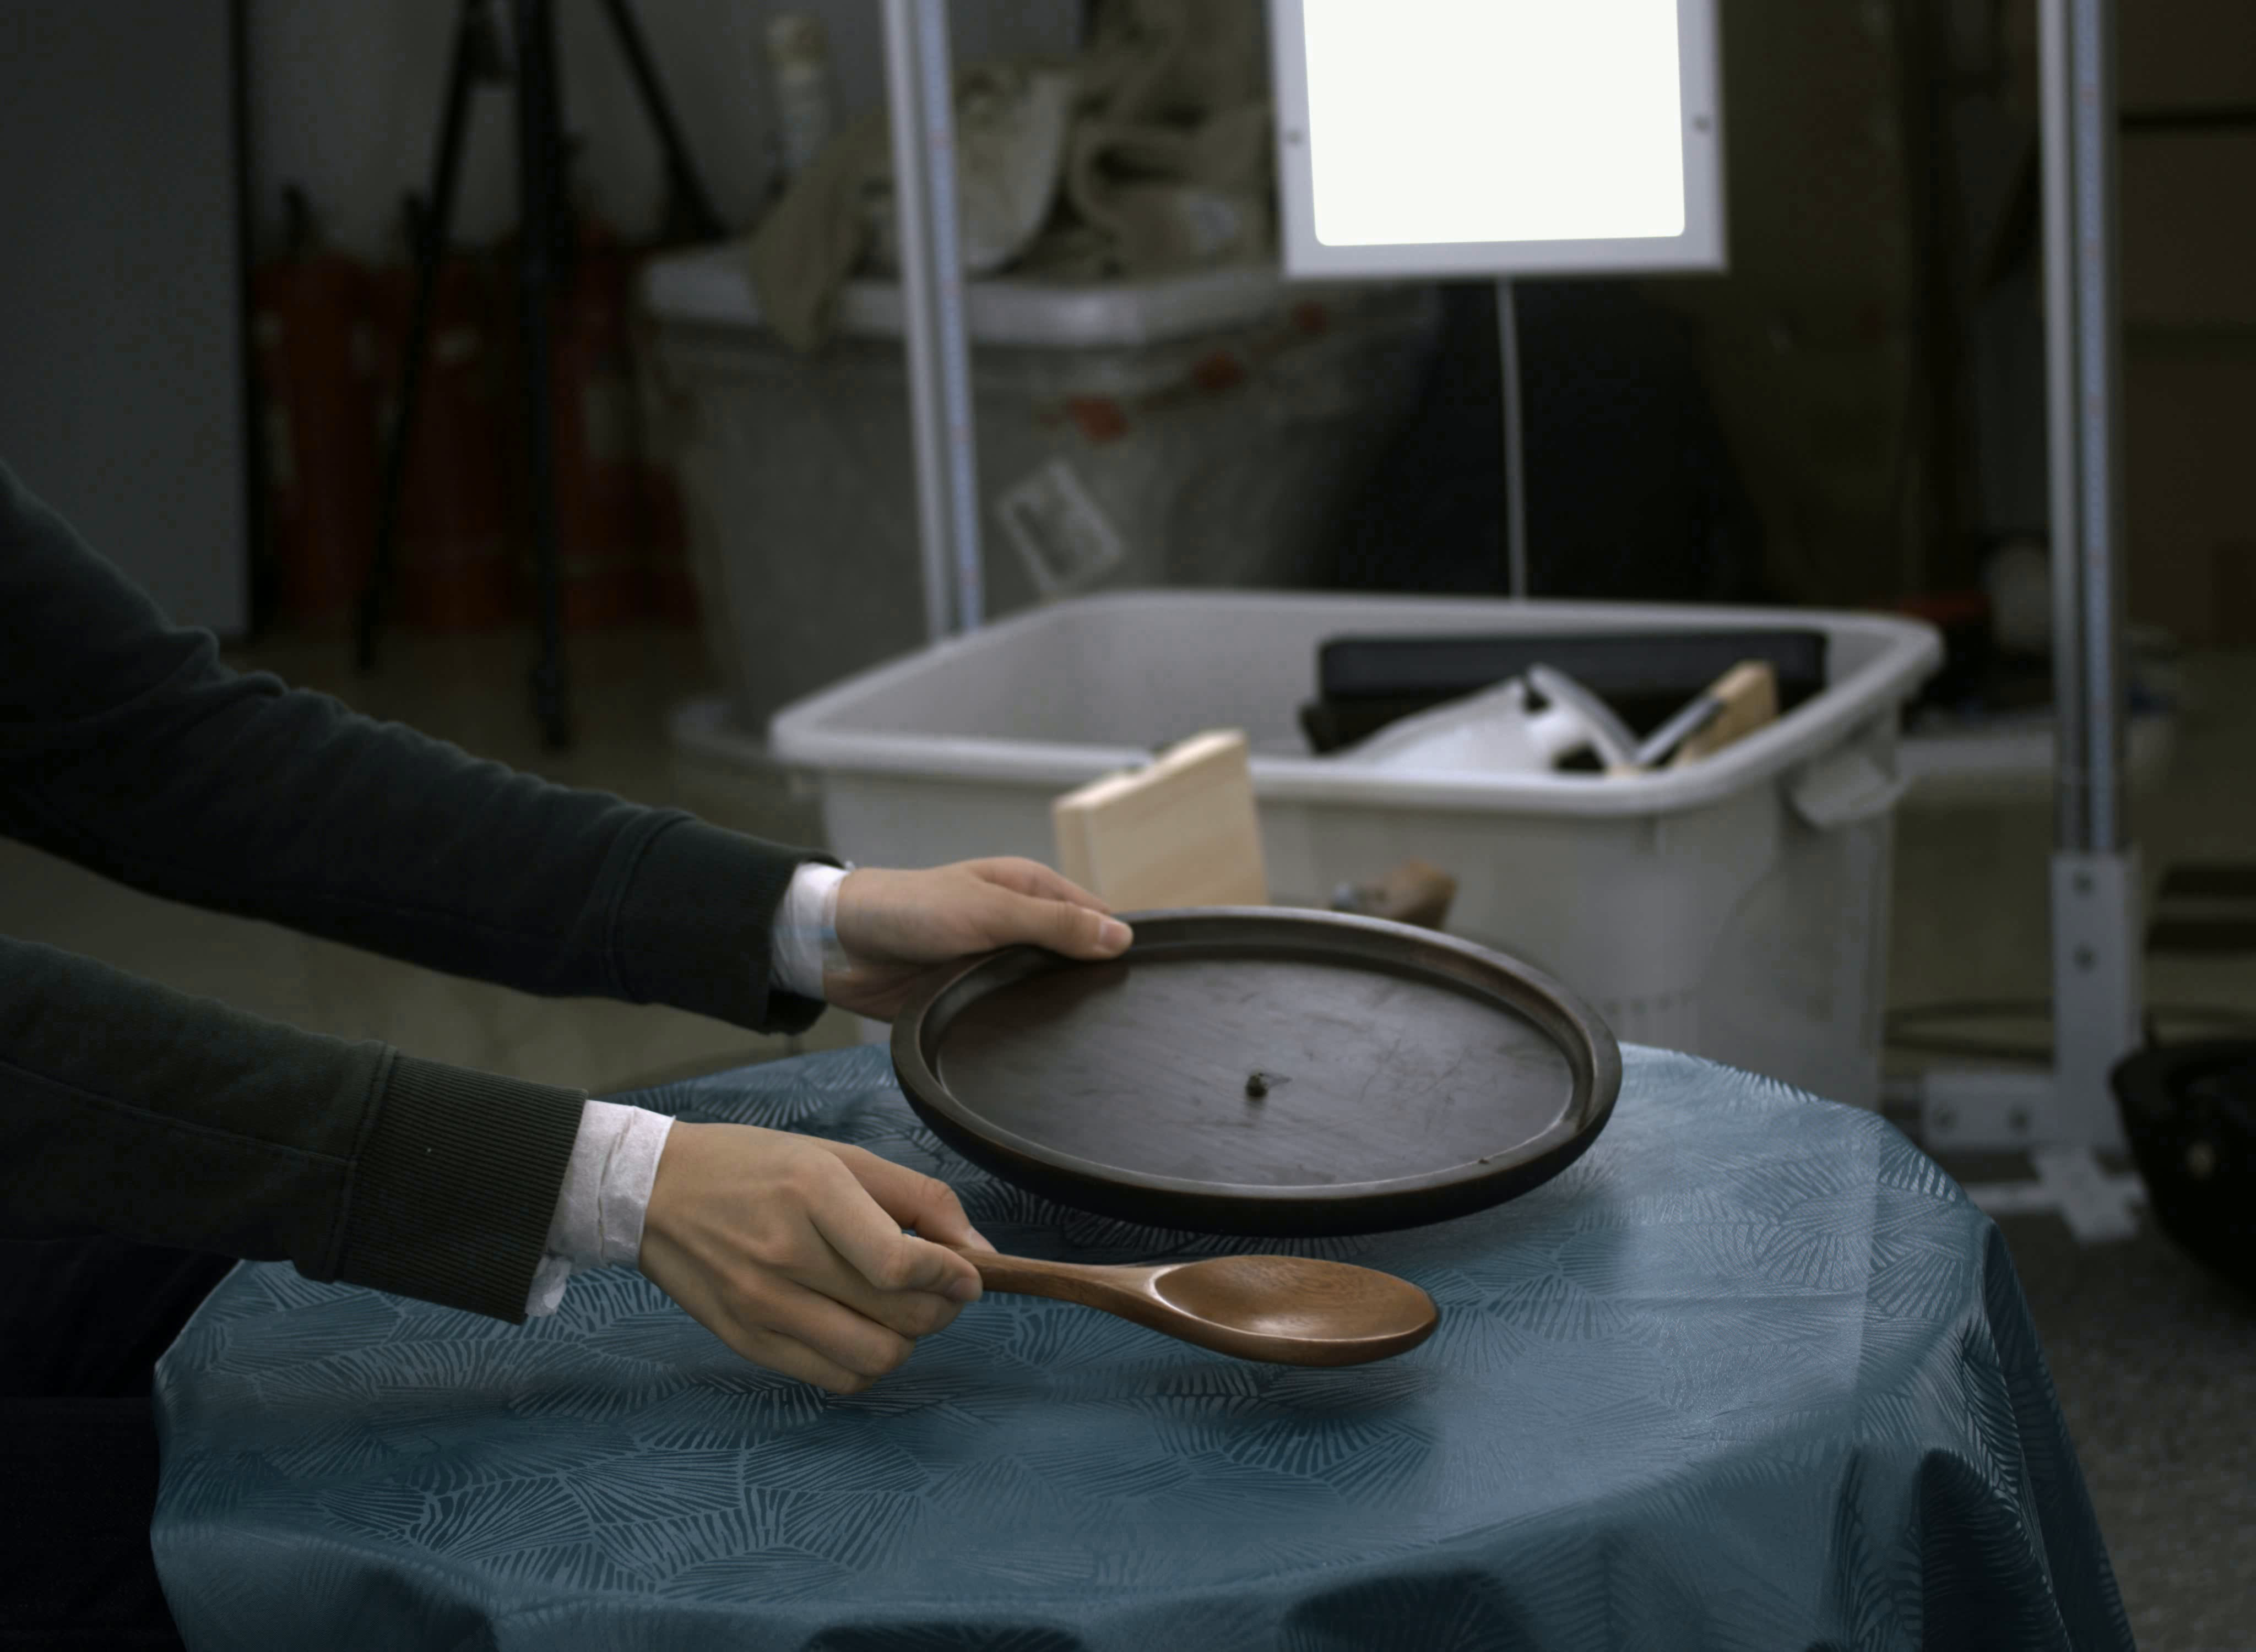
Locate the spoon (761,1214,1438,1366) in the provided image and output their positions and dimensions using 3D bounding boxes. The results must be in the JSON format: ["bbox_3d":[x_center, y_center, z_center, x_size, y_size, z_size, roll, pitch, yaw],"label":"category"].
[{"bbox_3d":[-0.010,0.142,1.705,0.218,0.017,0.074,7,17,15],"label":"spoon"}]

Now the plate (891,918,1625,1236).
[{"bbox_3d":[0.044,0.084,1.893,0.254,0.029,0.254,1,20,-2],"label":"plate"}]
